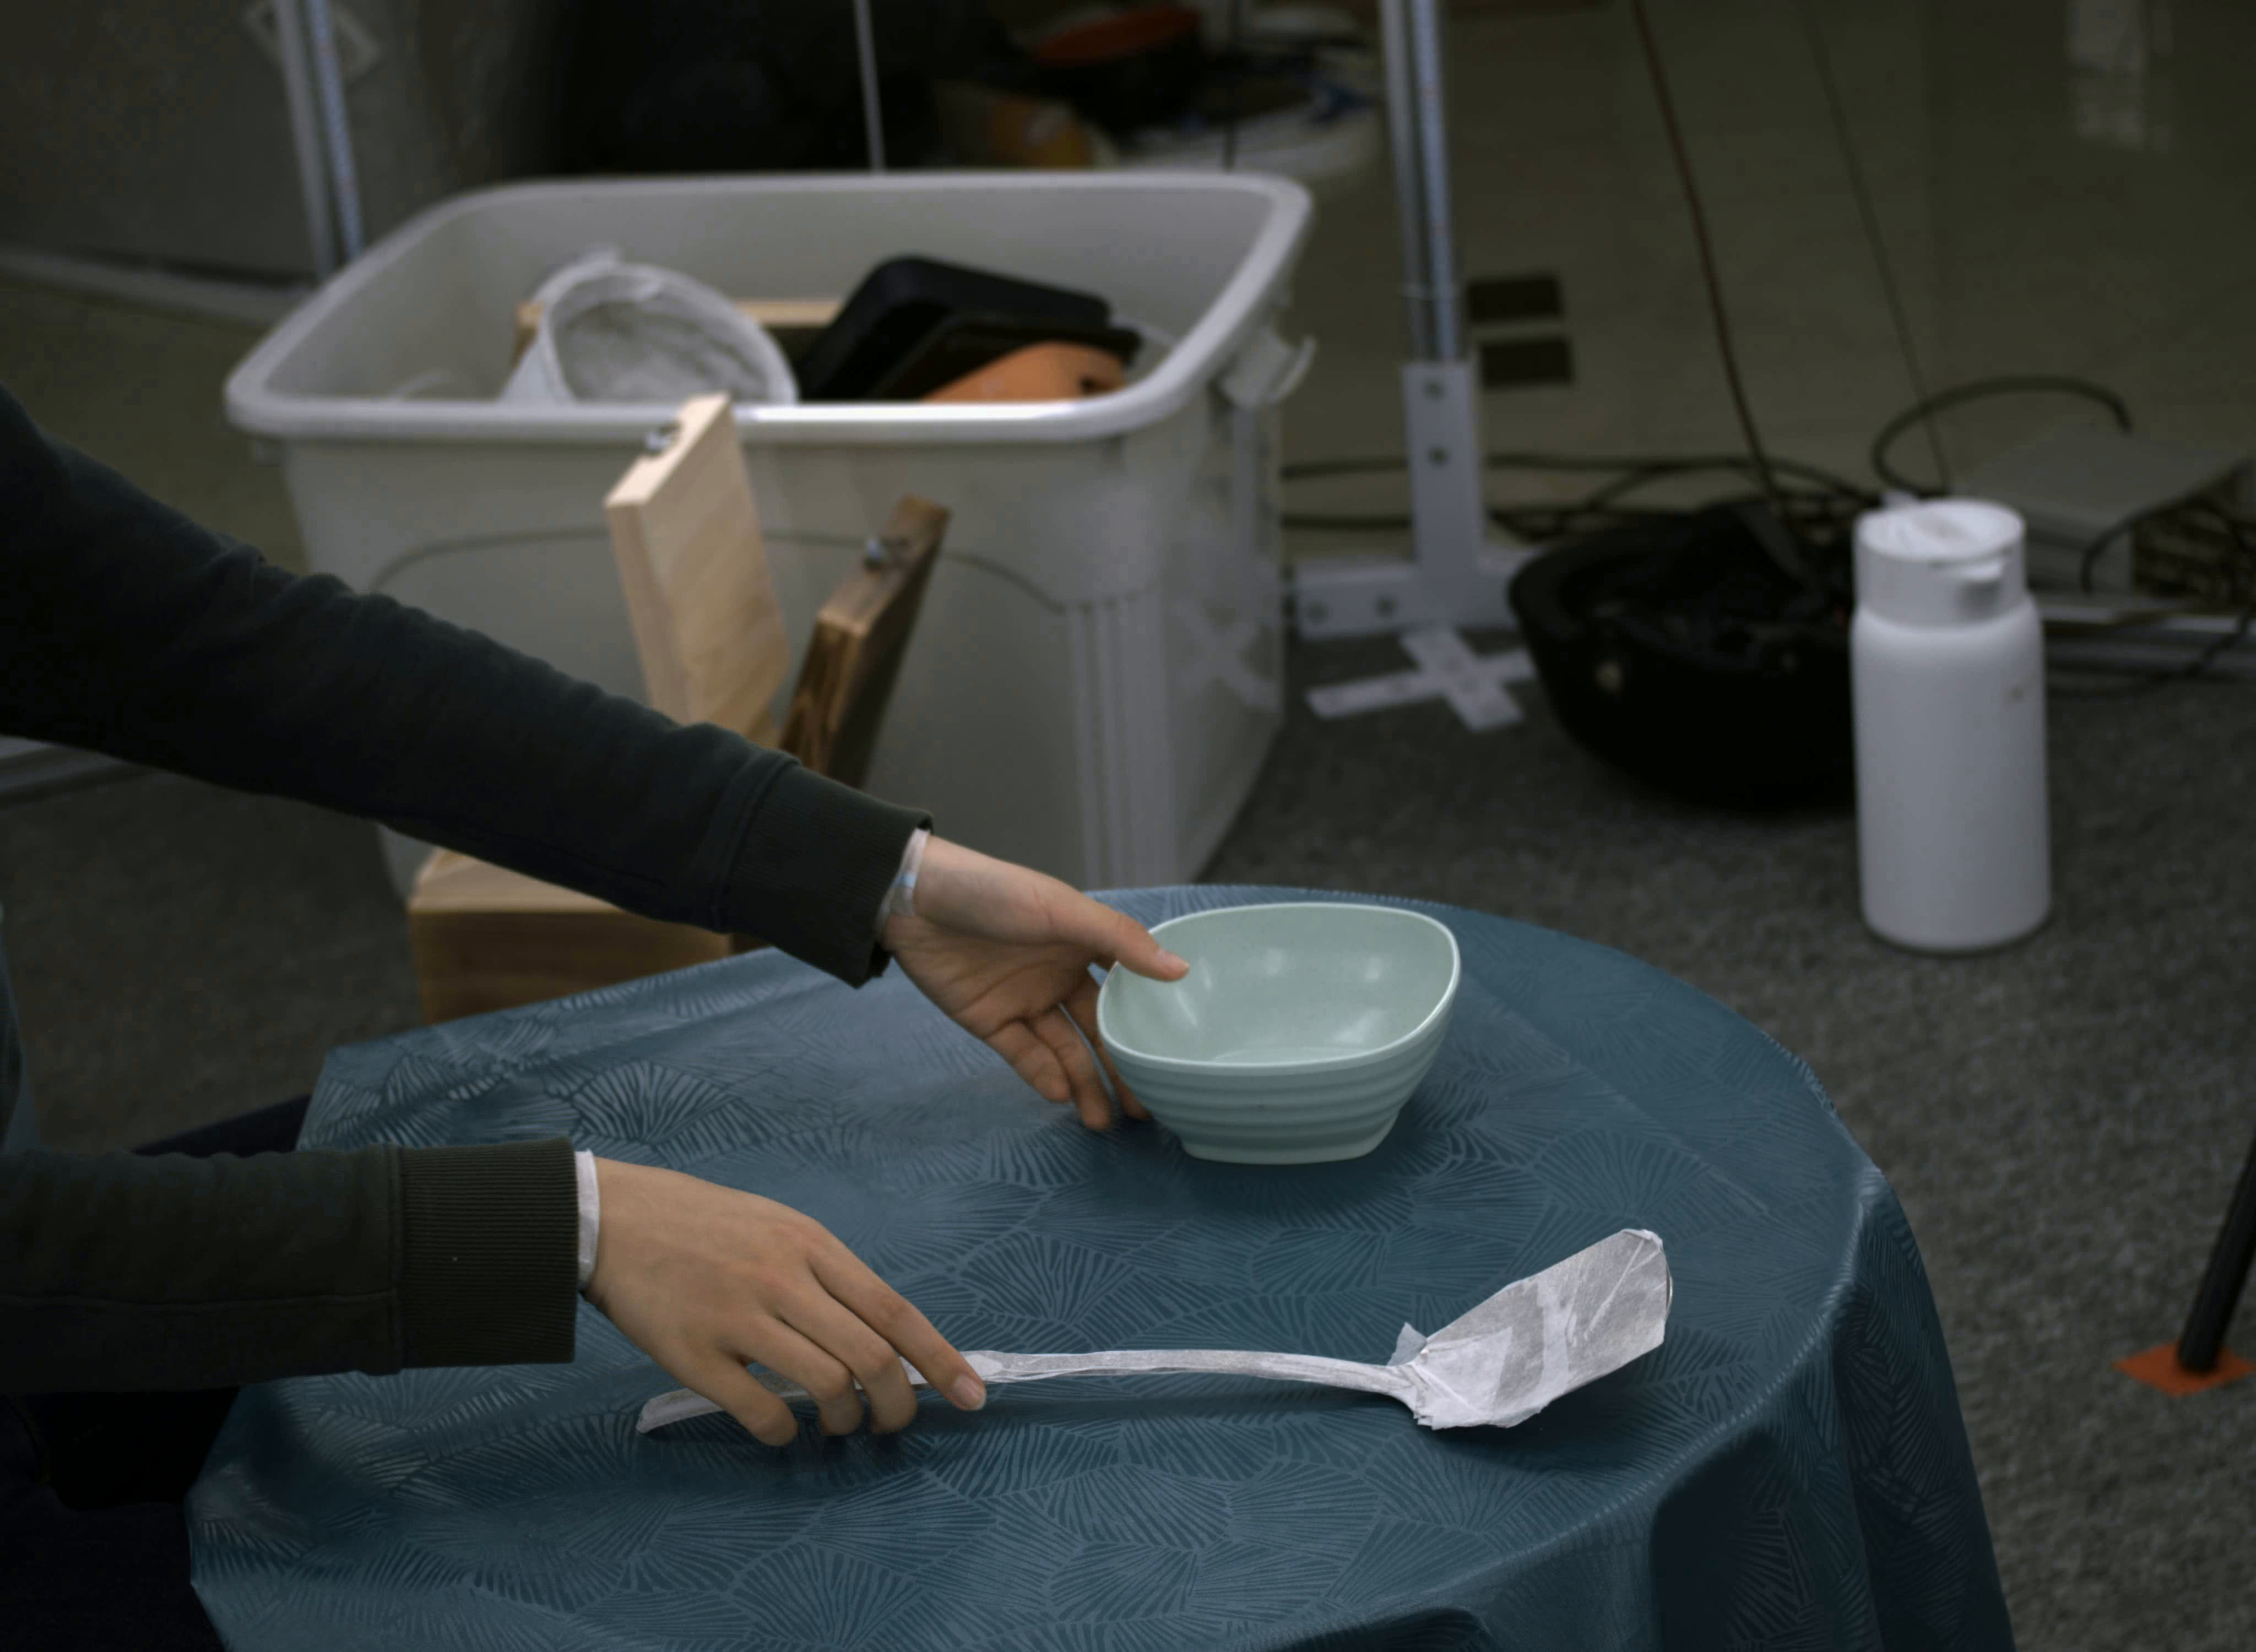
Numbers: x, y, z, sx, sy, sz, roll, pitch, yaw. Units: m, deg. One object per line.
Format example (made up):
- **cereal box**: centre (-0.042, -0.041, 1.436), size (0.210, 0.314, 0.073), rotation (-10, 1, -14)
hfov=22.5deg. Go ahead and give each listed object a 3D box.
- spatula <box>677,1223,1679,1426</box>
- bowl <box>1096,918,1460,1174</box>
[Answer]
- **spatula**: centre (0.013, 0.185, 2.005), size (0.364, 0.045, 0.097), rotation (-2, 27, 8)
- **bowl**: centre (0.060, 0.089, 2.182), size (0.151, 0.059, 0.149), rotation (-5, 24, 3)
